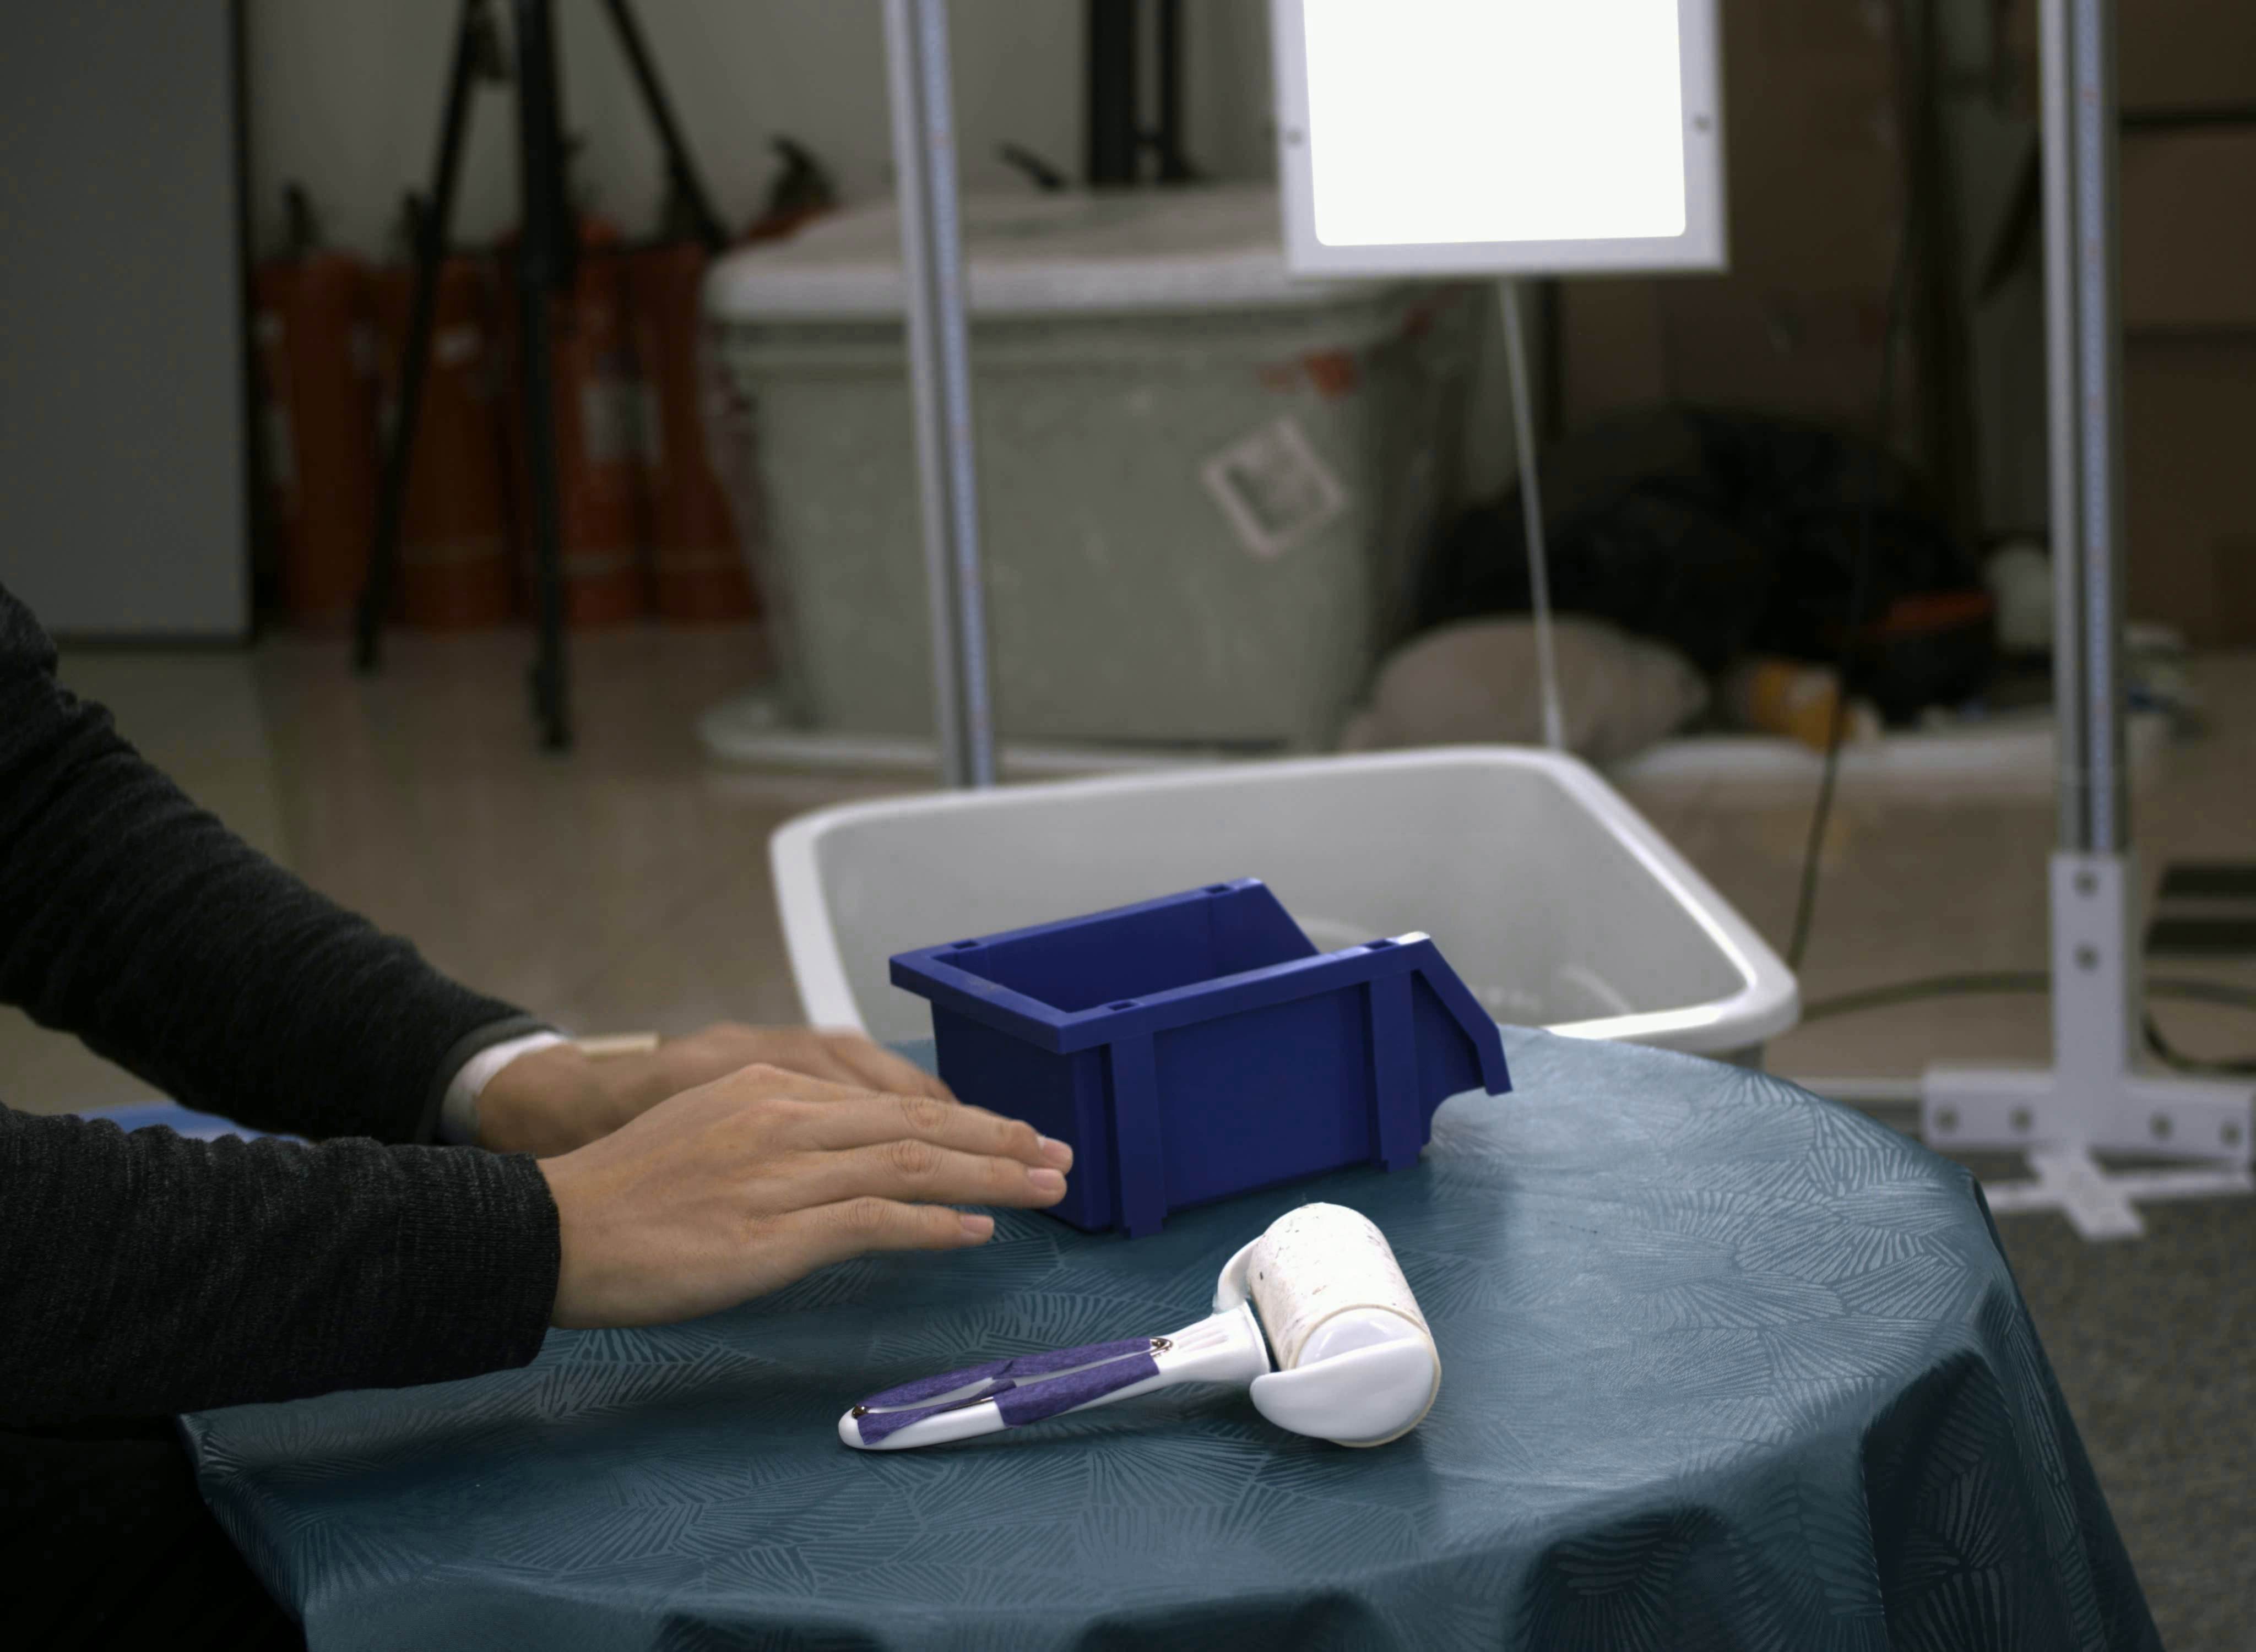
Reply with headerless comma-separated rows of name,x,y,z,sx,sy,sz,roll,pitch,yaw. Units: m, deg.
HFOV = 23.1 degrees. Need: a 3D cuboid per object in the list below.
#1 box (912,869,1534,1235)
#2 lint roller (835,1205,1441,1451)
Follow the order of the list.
box,0.033,0.075,1.925,0.175,0.082,0.126,-15,16,-25
lint roller,0.000,0.157,1.675,0.180,0.050,0.133,-4,15,-2
